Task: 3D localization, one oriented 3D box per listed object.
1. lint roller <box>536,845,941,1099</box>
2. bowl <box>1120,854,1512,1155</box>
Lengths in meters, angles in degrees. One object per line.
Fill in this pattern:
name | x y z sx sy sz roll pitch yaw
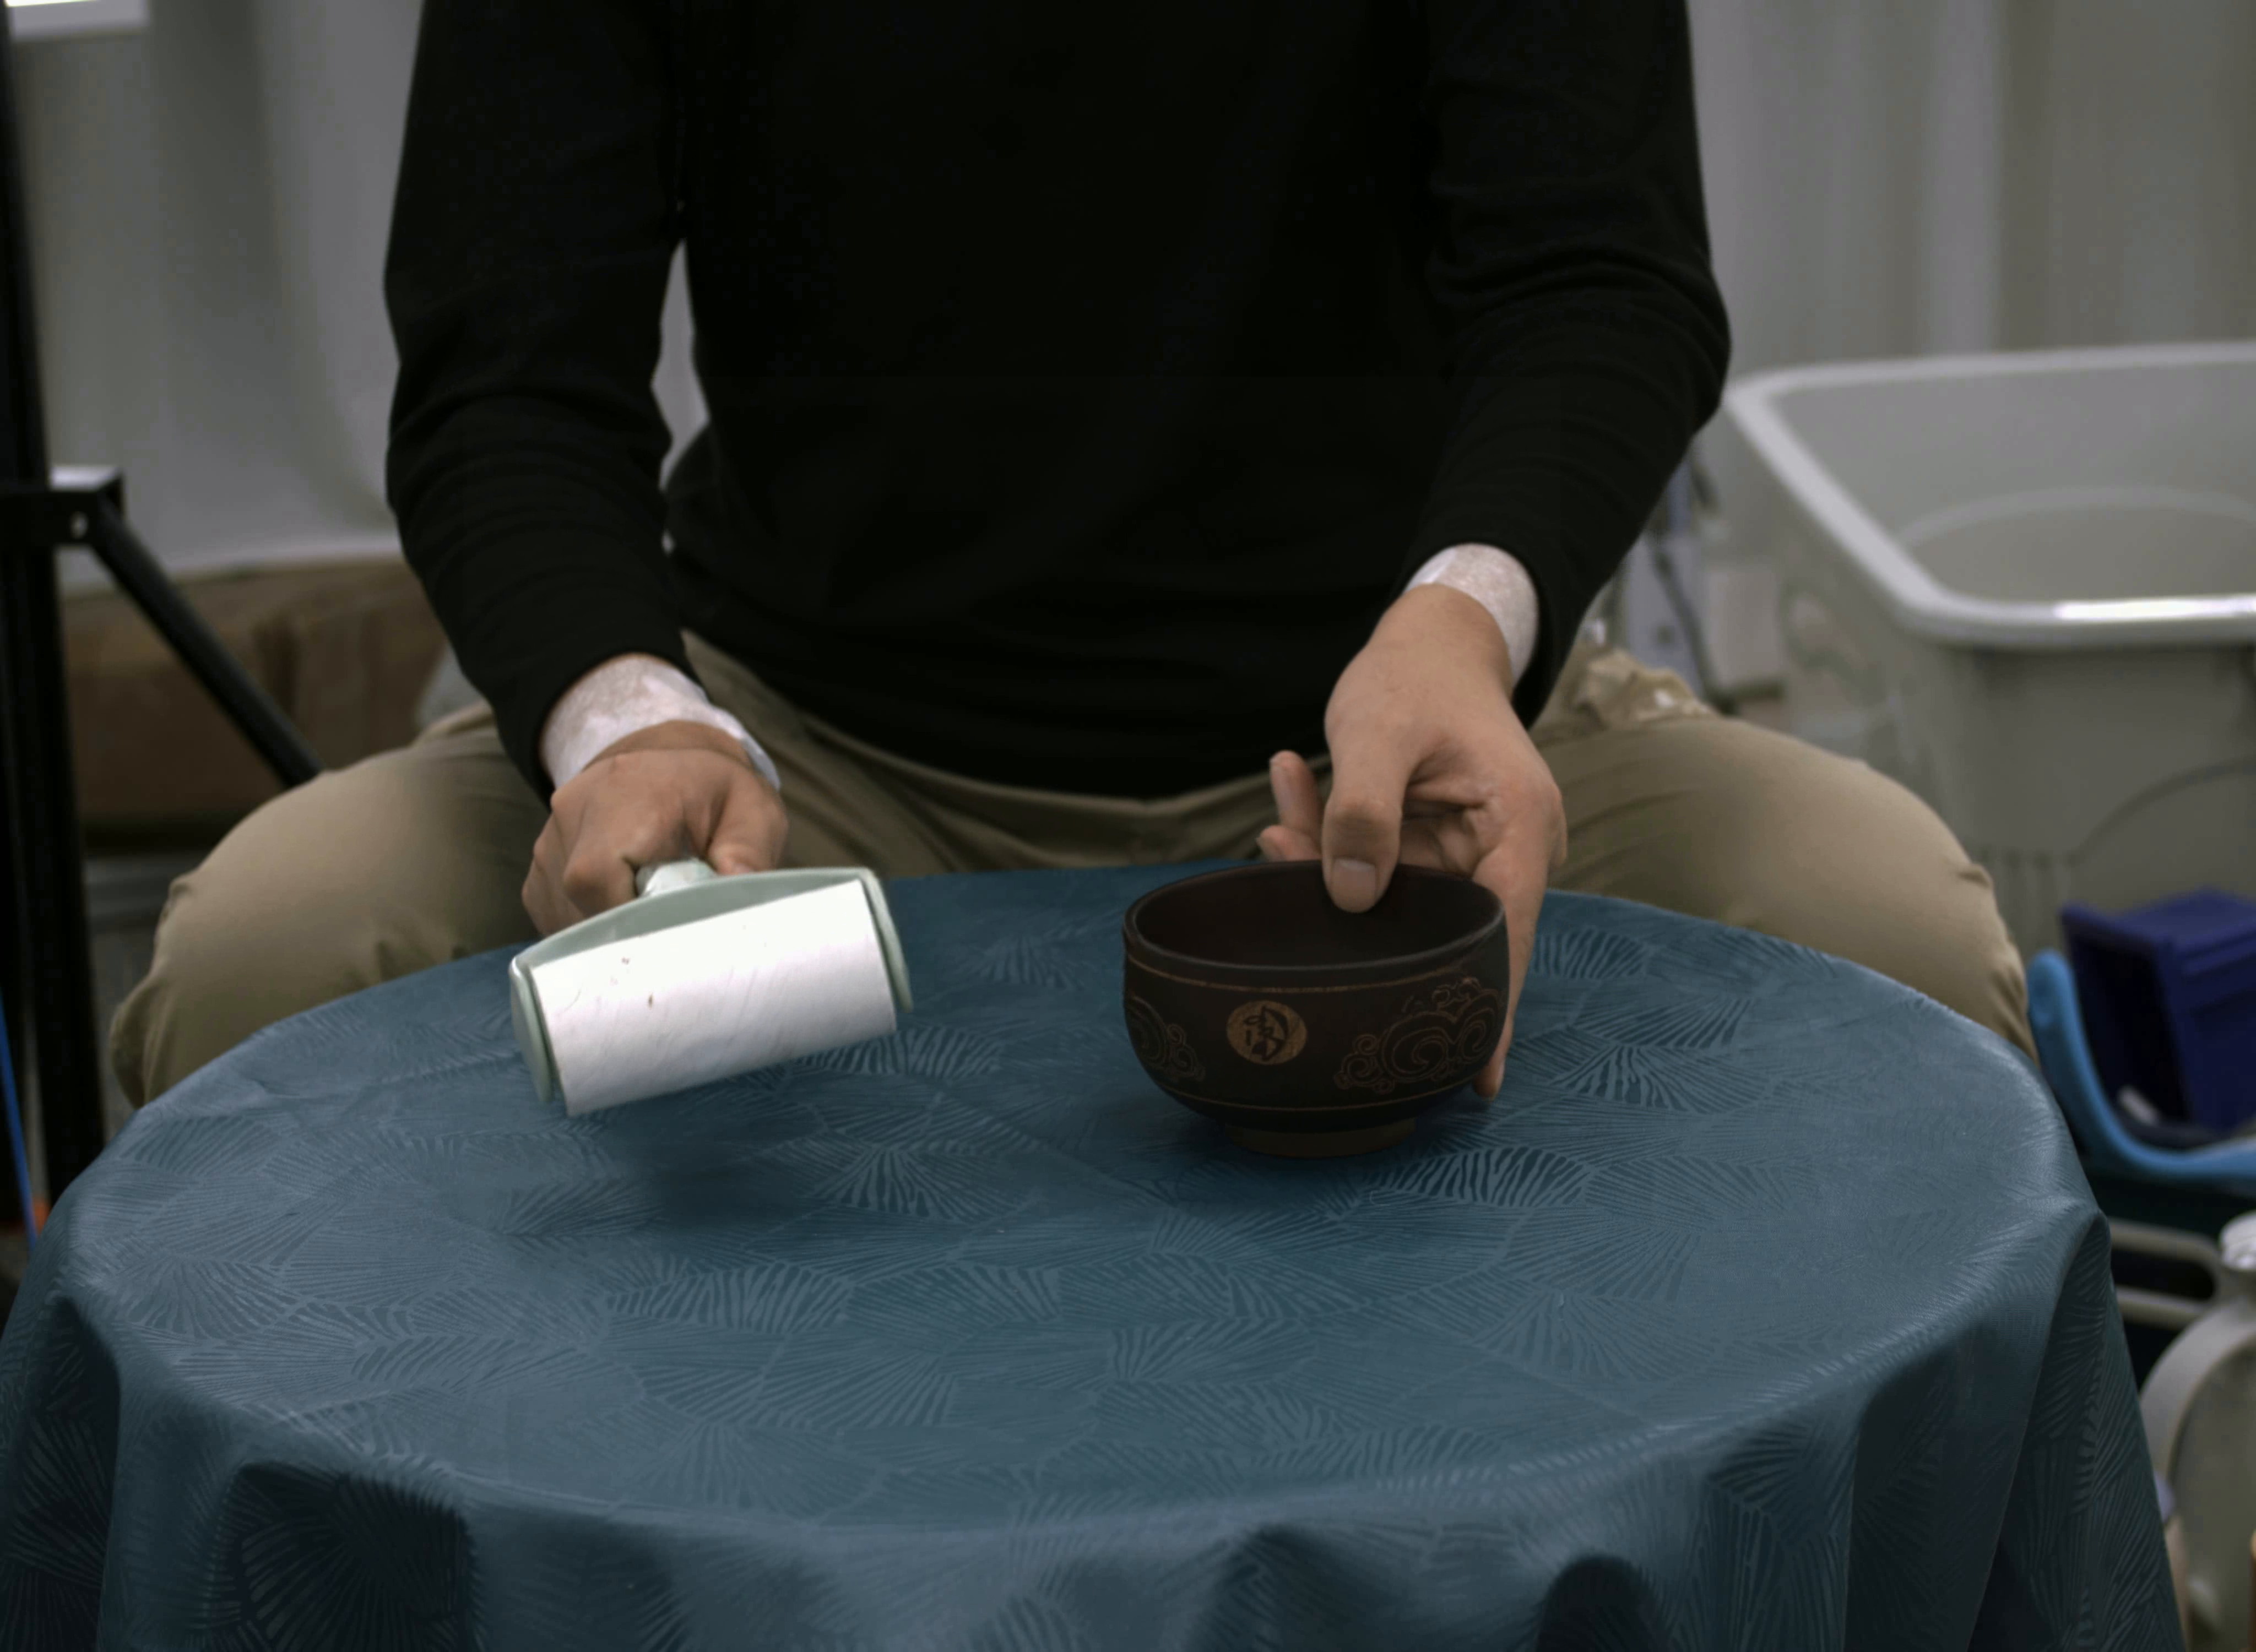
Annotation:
lint roller | -0.126 0.030 1.637 0.115 0.048 0.199 -16 14 -6
bowl | 0.057 0.057 1.594 0.117 0.070 0.118 -3 15 0
